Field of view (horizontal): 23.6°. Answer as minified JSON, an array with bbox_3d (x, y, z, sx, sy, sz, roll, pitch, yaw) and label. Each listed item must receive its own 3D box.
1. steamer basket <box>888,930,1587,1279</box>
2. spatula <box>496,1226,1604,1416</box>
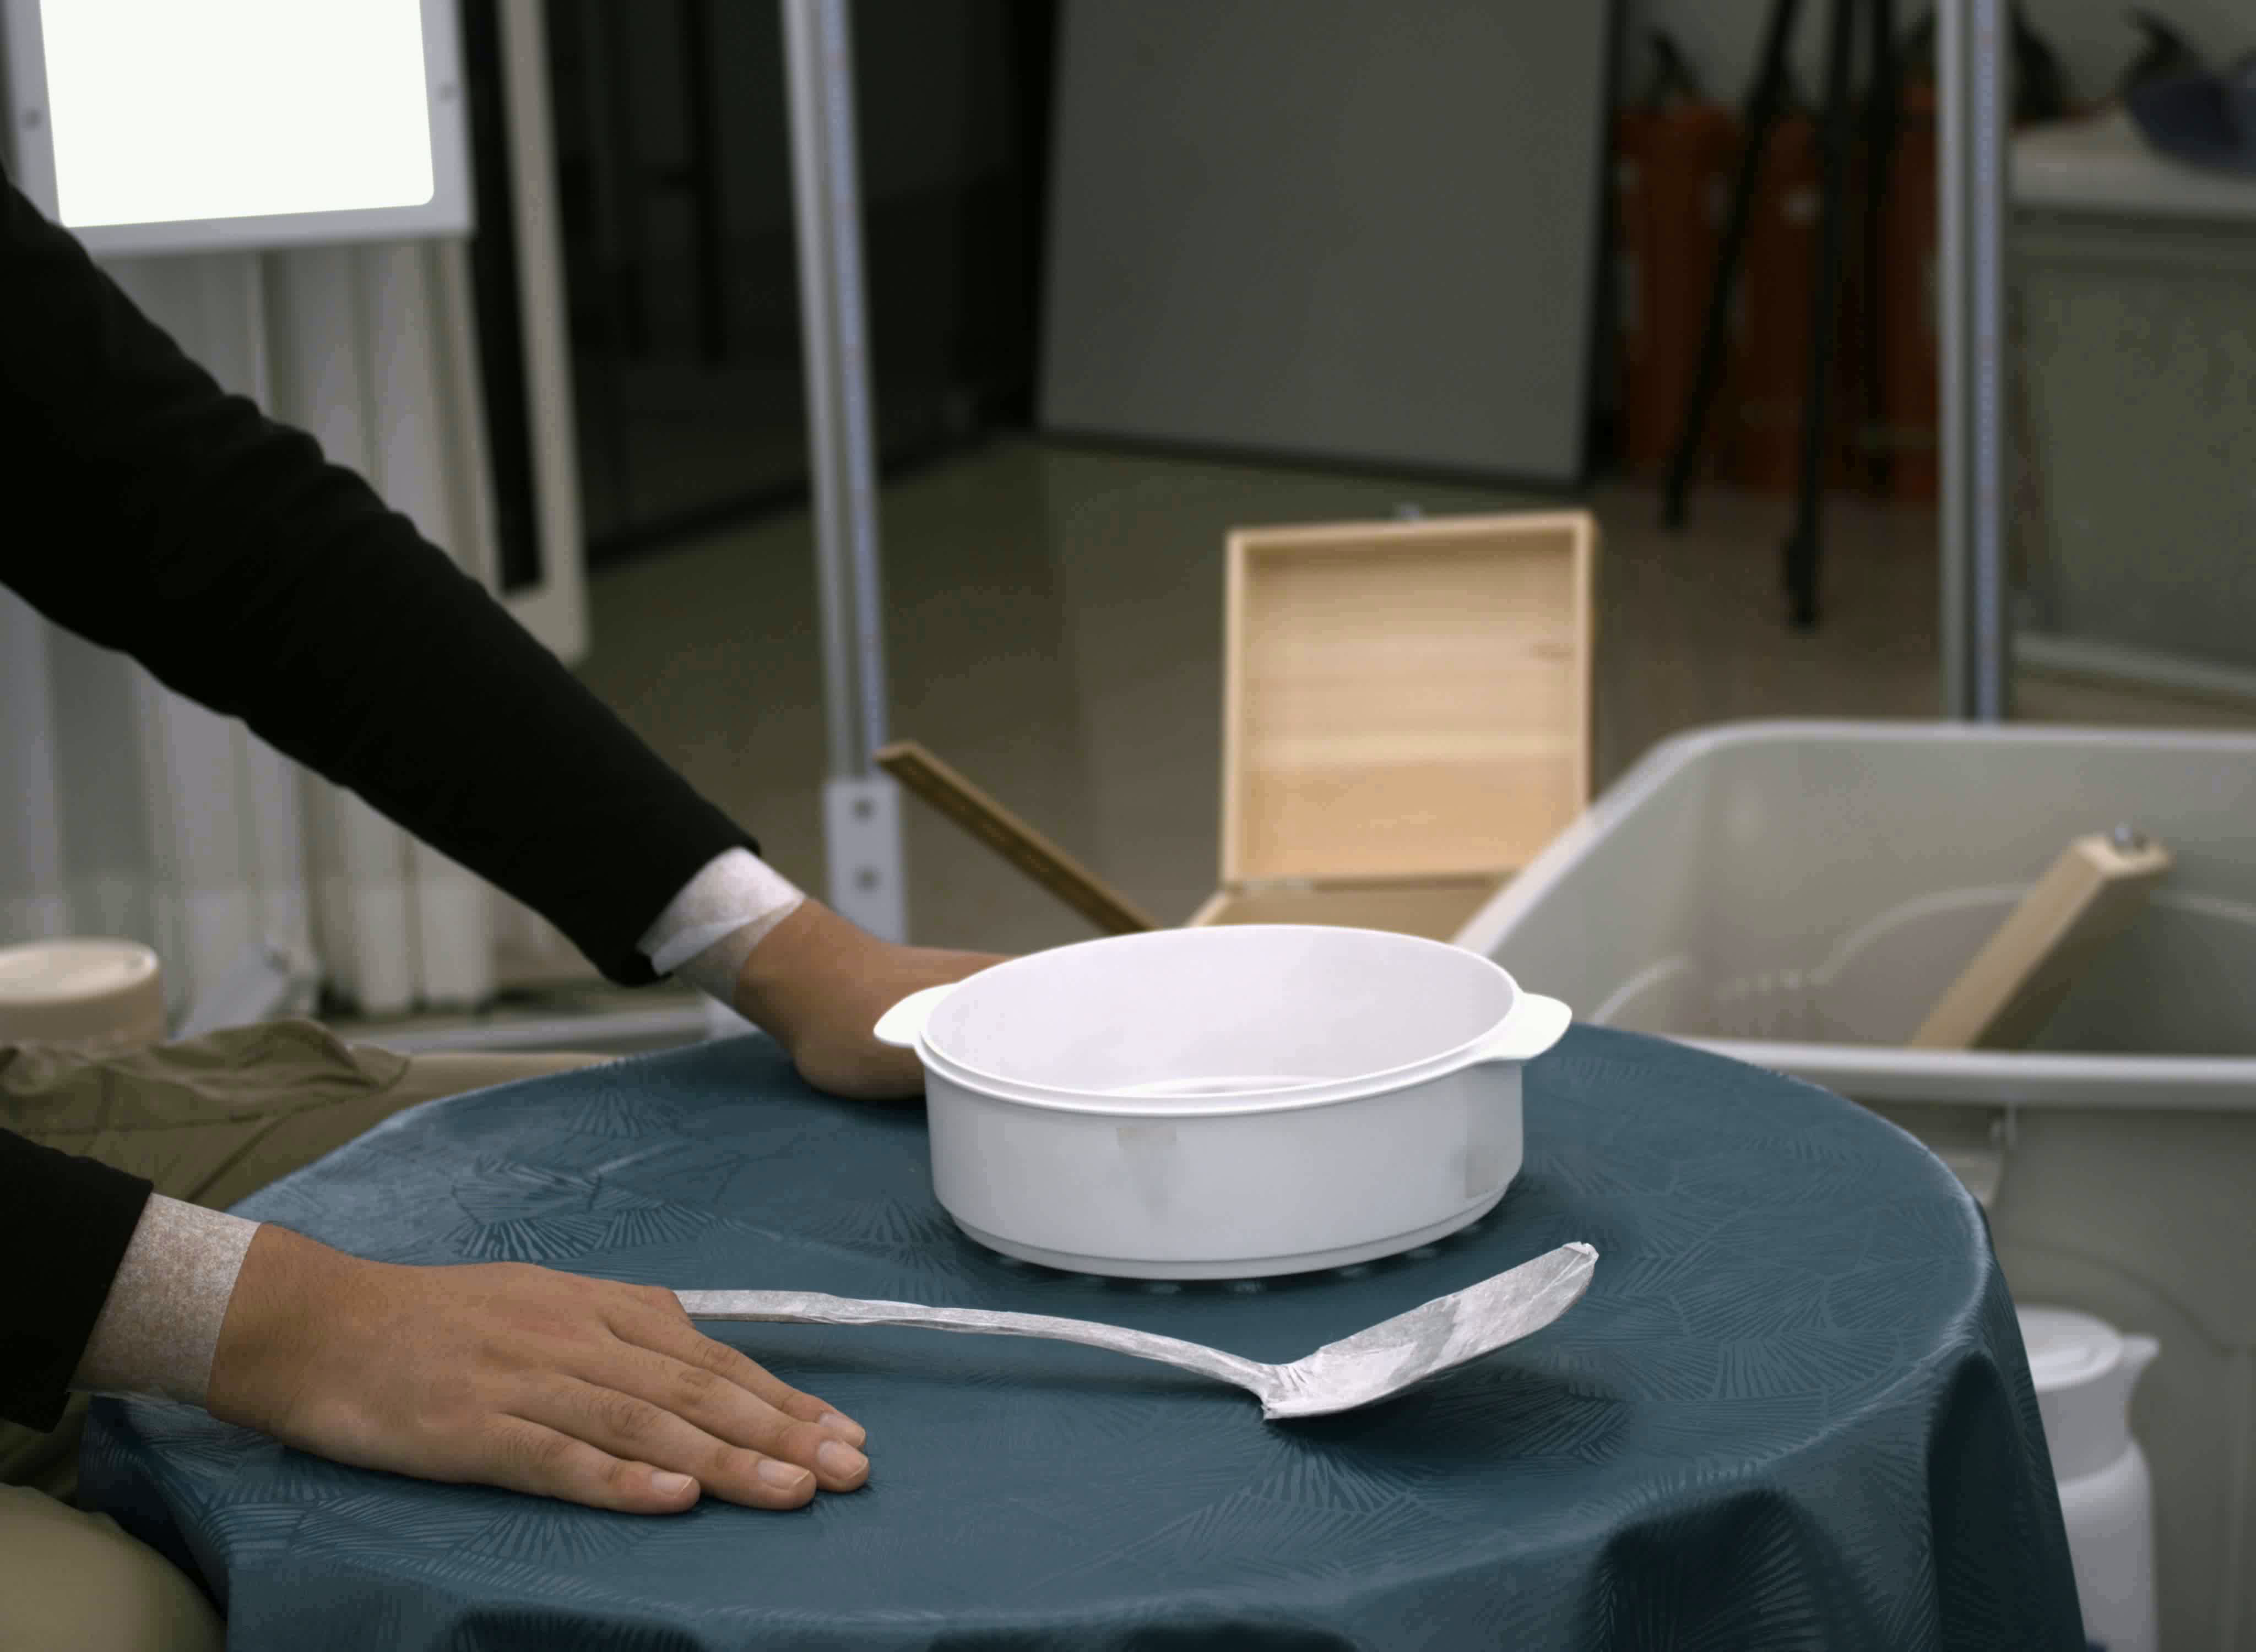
[{"bbox_3d":[0.036,0.089,1.743,0.230,0.070,0.200,-1,13,18],"label":"steamer basket"},{"bbox_3d":[-0.035,0.144,1.606,0.365,0.045,0.097,2,17,23],"label":"spatula"}]
